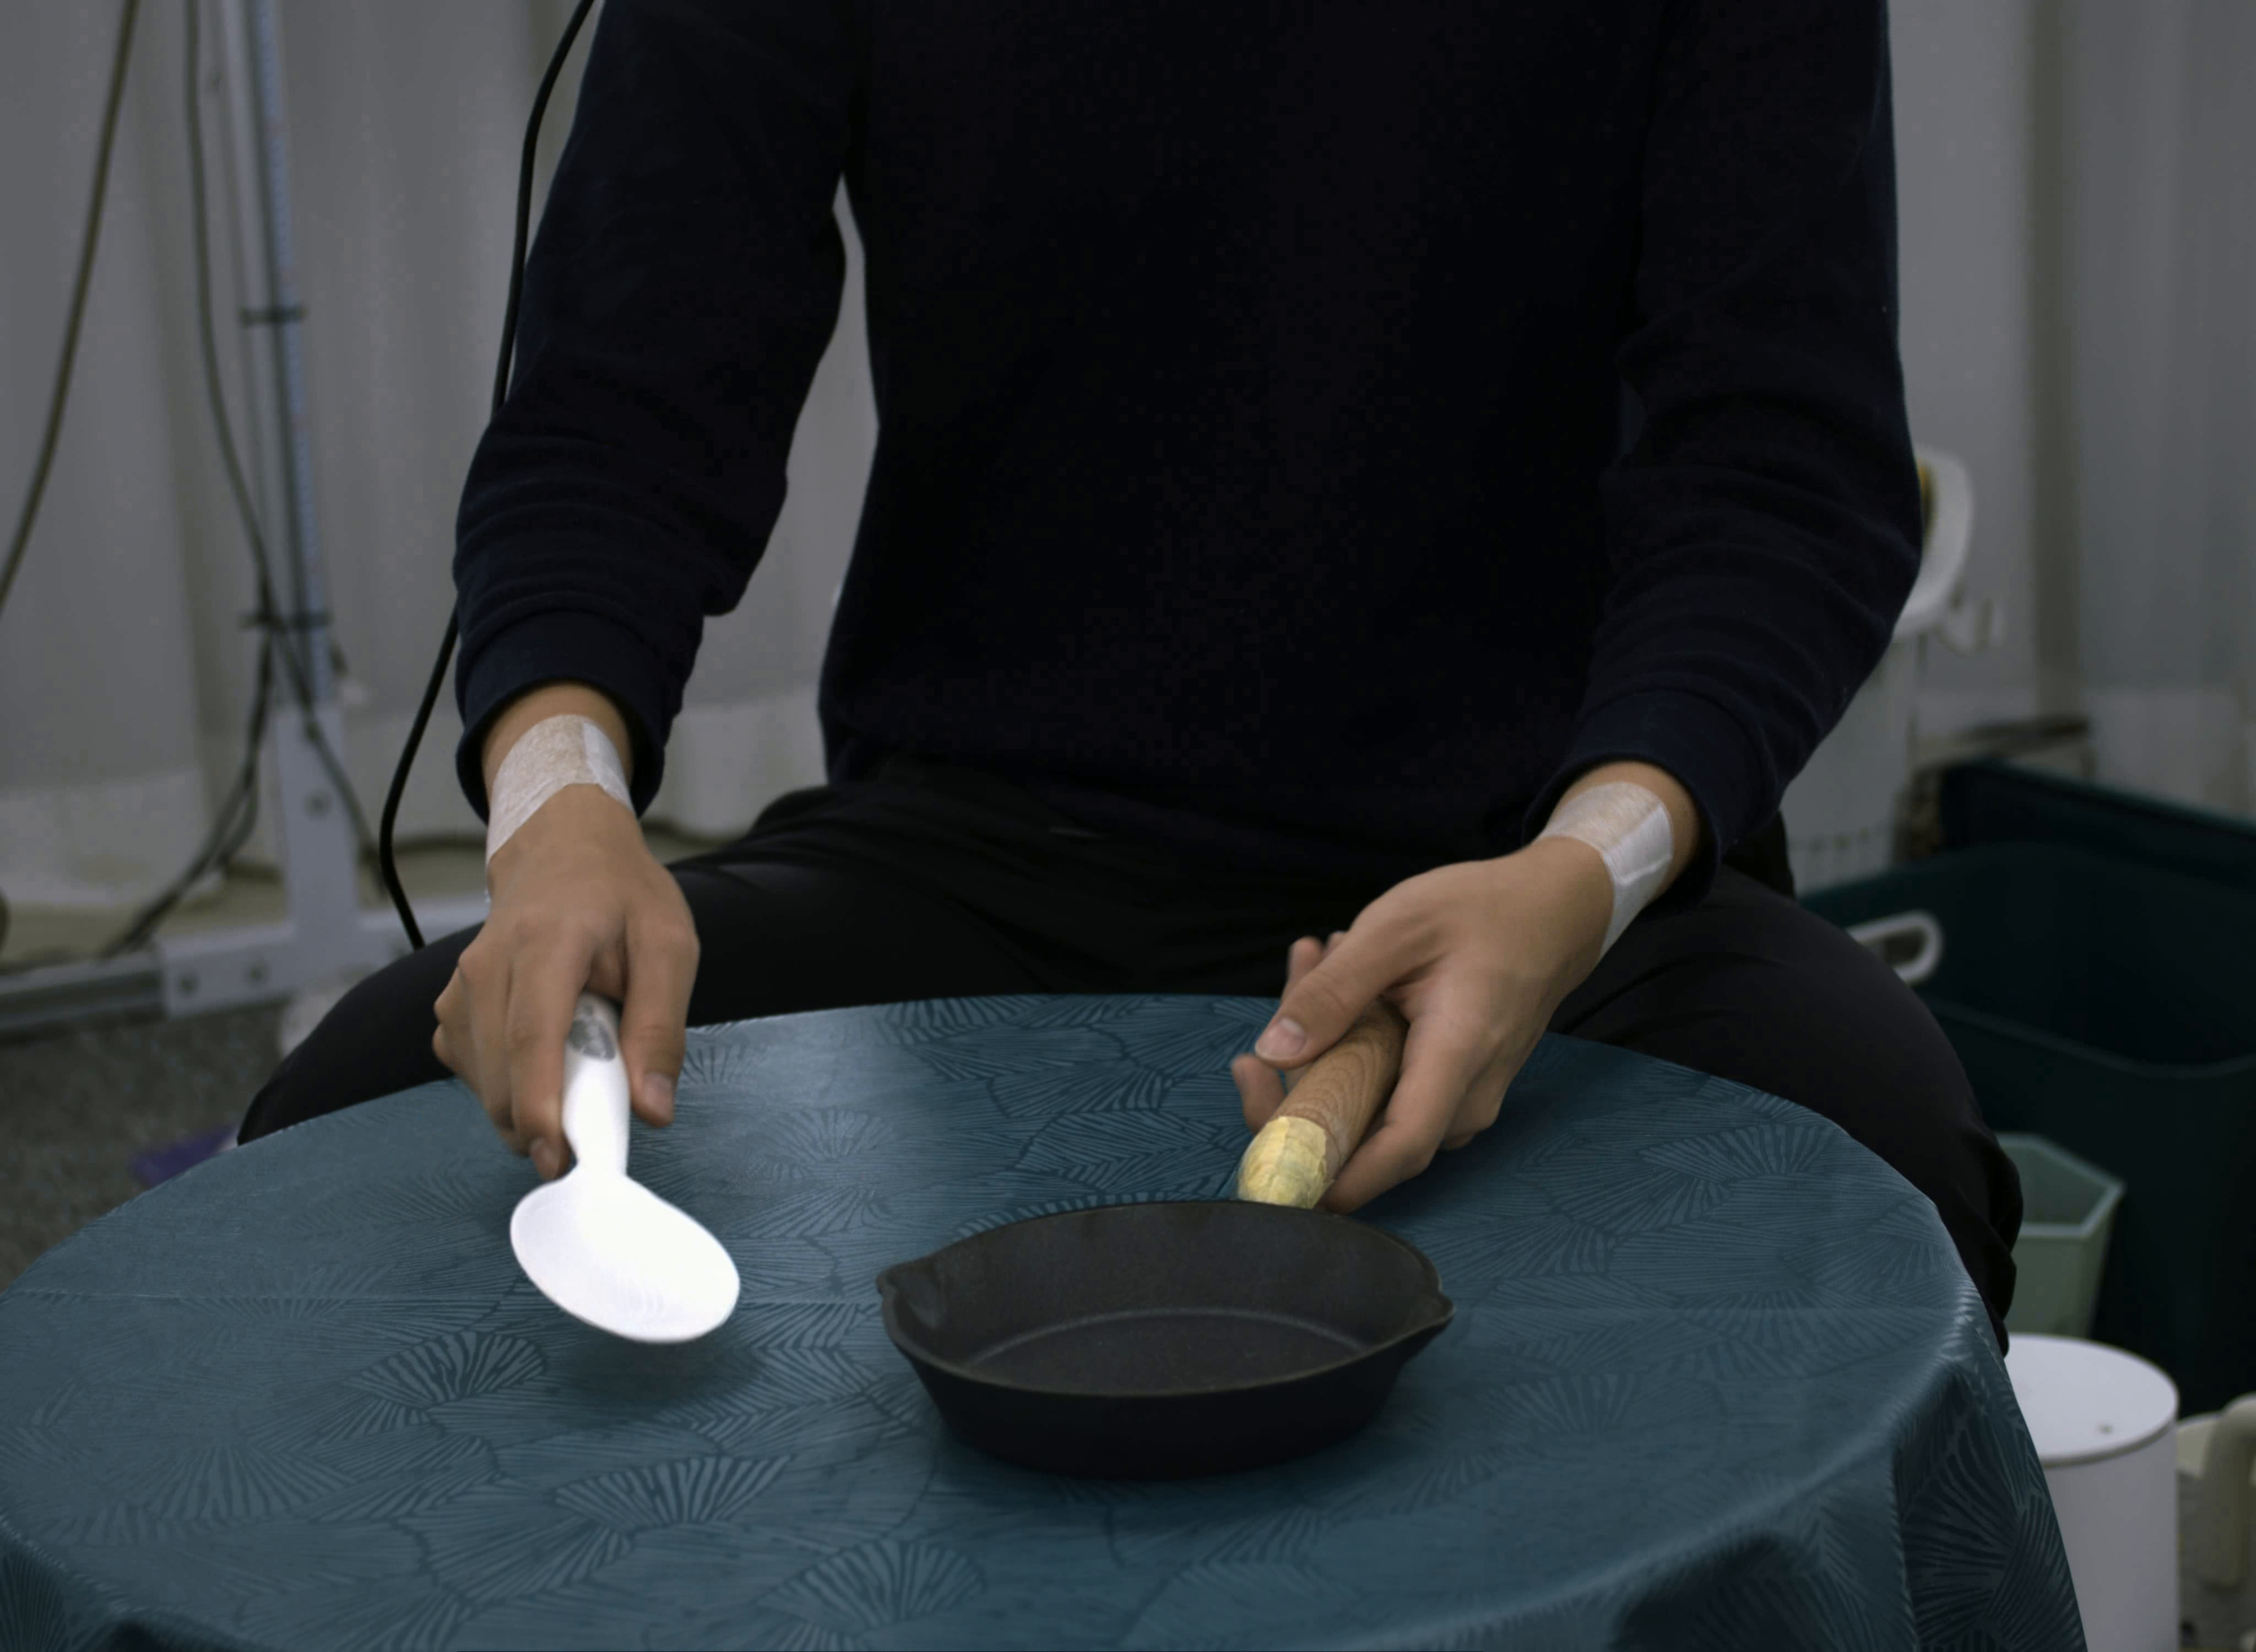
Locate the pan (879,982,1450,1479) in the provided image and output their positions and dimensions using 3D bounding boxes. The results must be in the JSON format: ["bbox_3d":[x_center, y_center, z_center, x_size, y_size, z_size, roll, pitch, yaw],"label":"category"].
[{"bbox_3d":[0.040,0.116,1.608,0.169,0.049,0.325,3,17,21],"label":"pan"}]

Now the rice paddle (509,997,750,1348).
[{"bbox_3d":[-0.156,0.106,1.638,0.068,0.029,0.207,9,20,-17],"label":"rice paddle"}]
